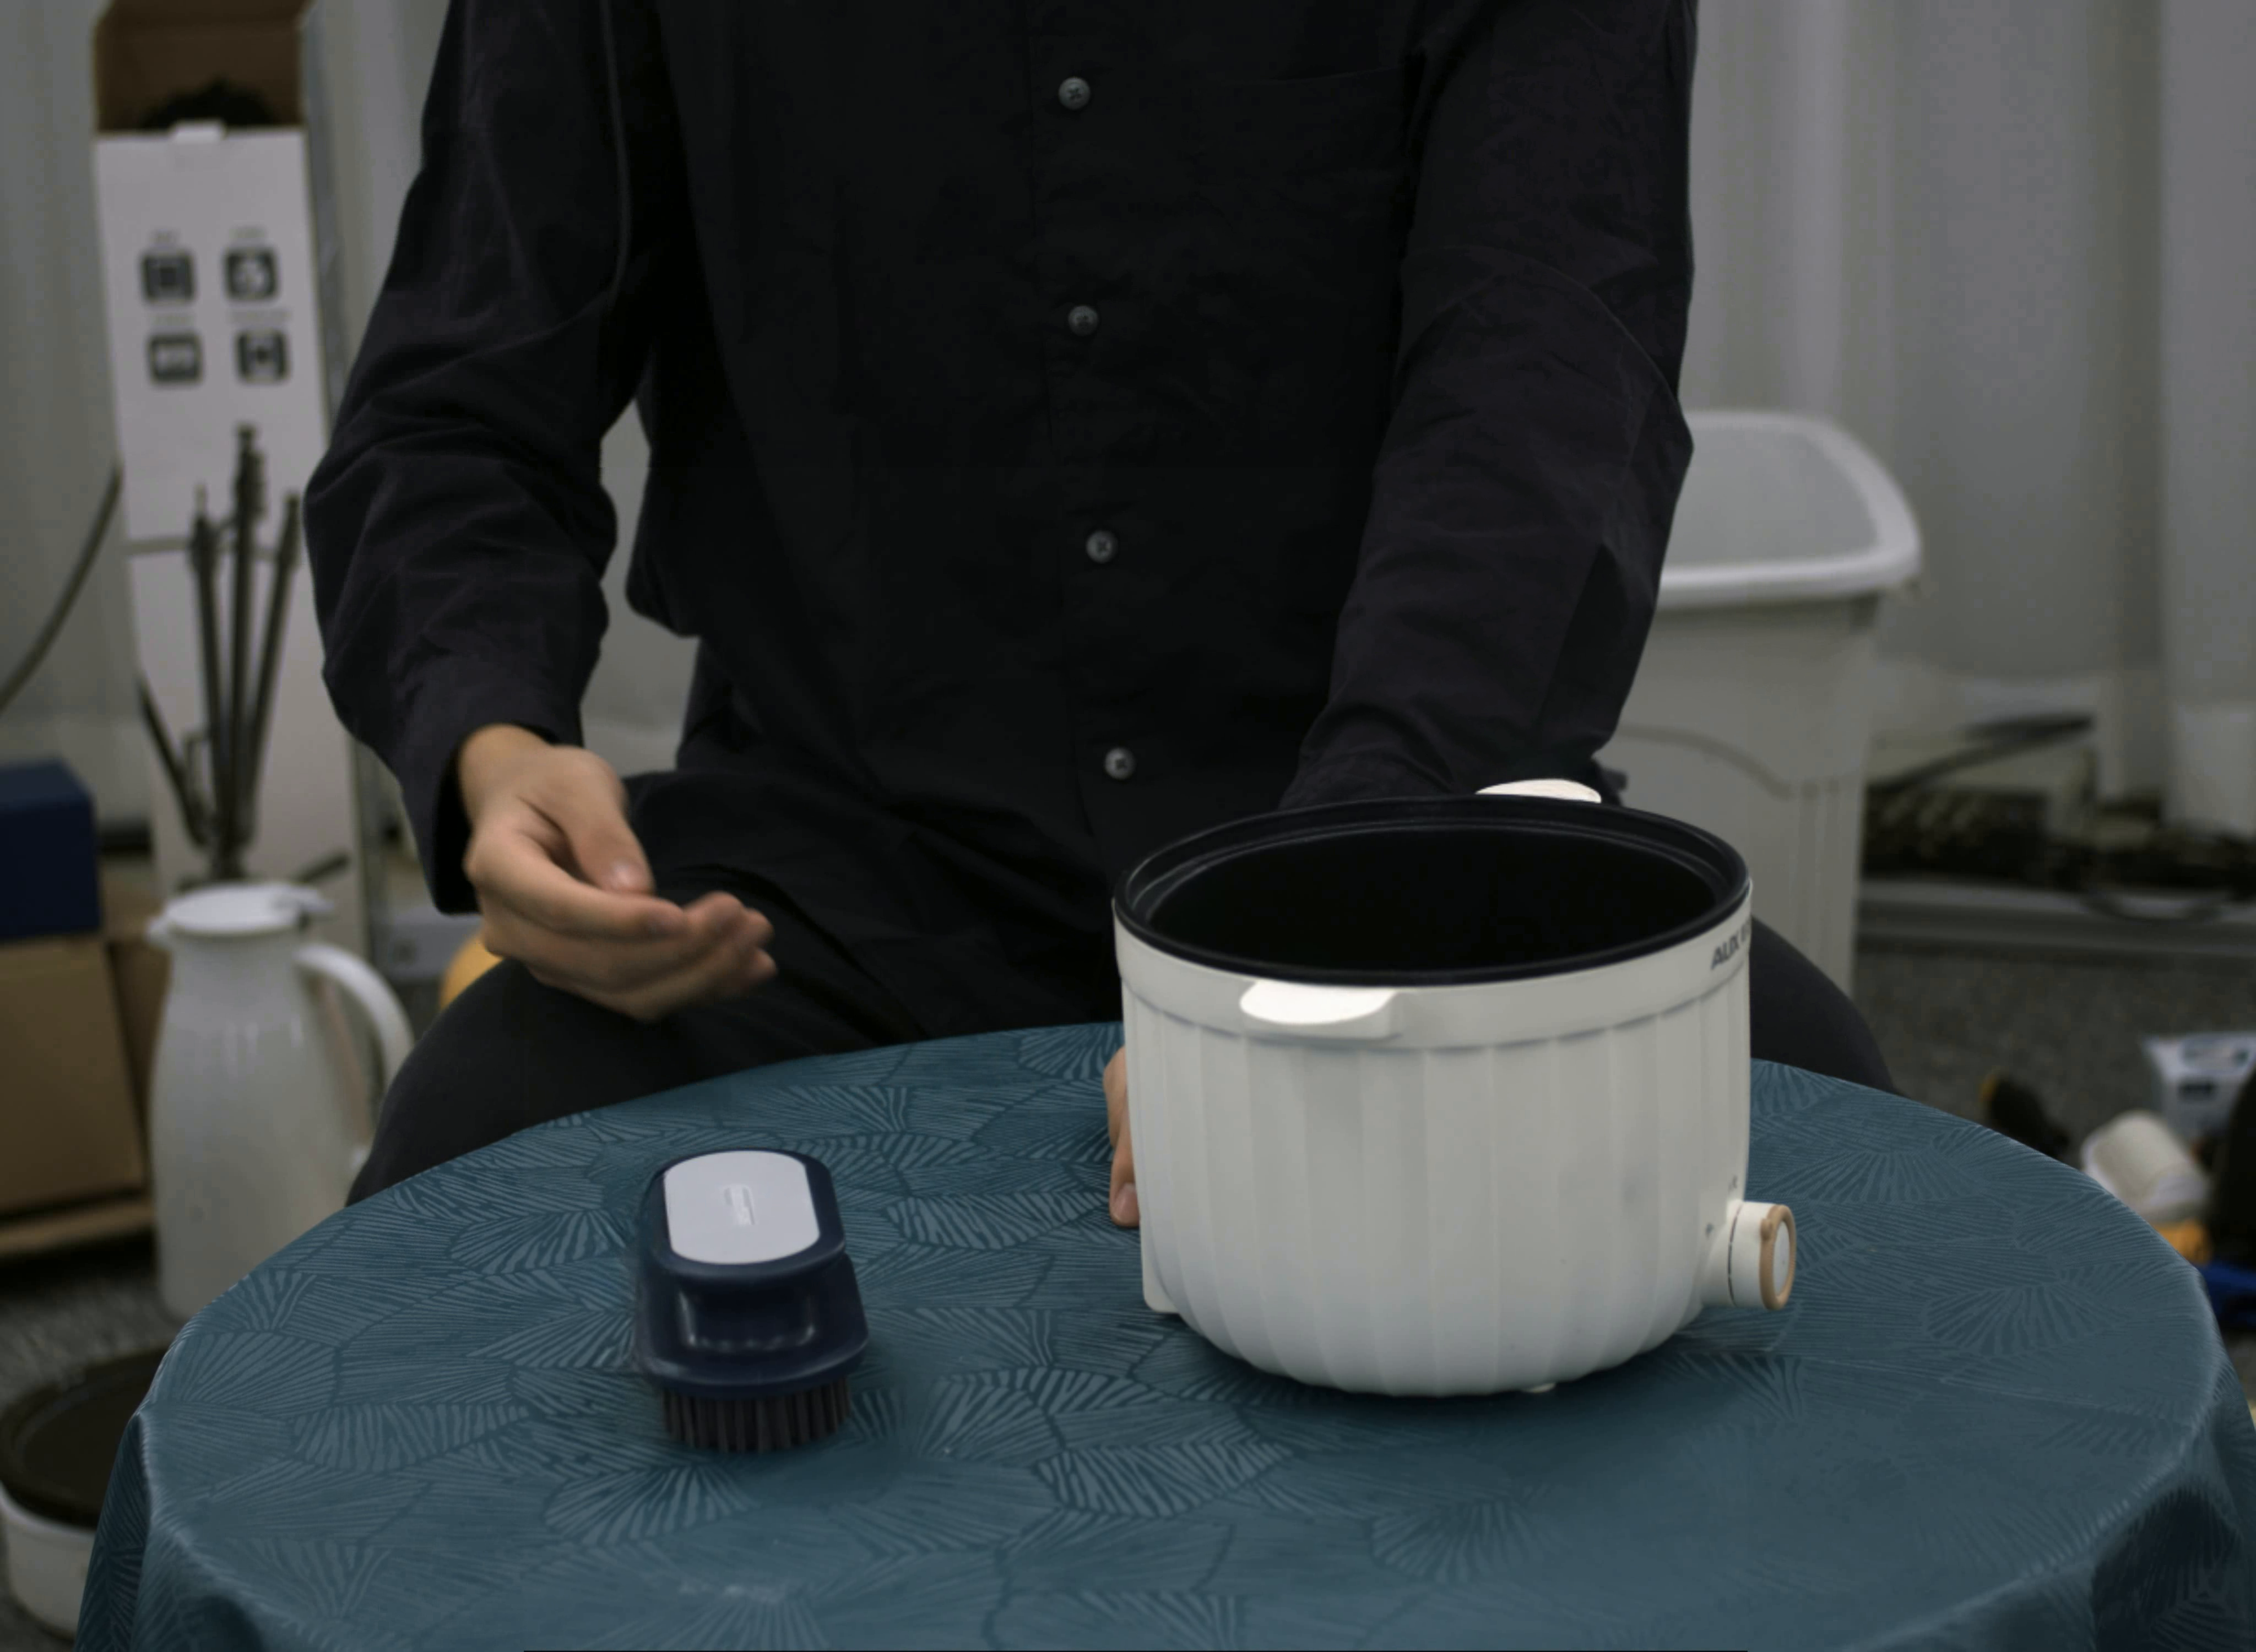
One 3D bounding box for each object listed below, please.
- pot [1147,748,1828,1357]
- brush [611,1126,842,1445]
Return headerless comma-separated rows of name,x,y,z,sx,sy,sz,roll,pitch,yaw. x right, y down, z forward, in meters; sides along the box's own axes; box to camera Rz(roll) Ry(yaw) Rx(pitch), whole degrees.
pot,0.104,0.069,1.581,0.190,0.142,0.241,0,16,21
brush,-0.116,0.133,1.575,0.067,0.061,0.122,-7,19,-1
